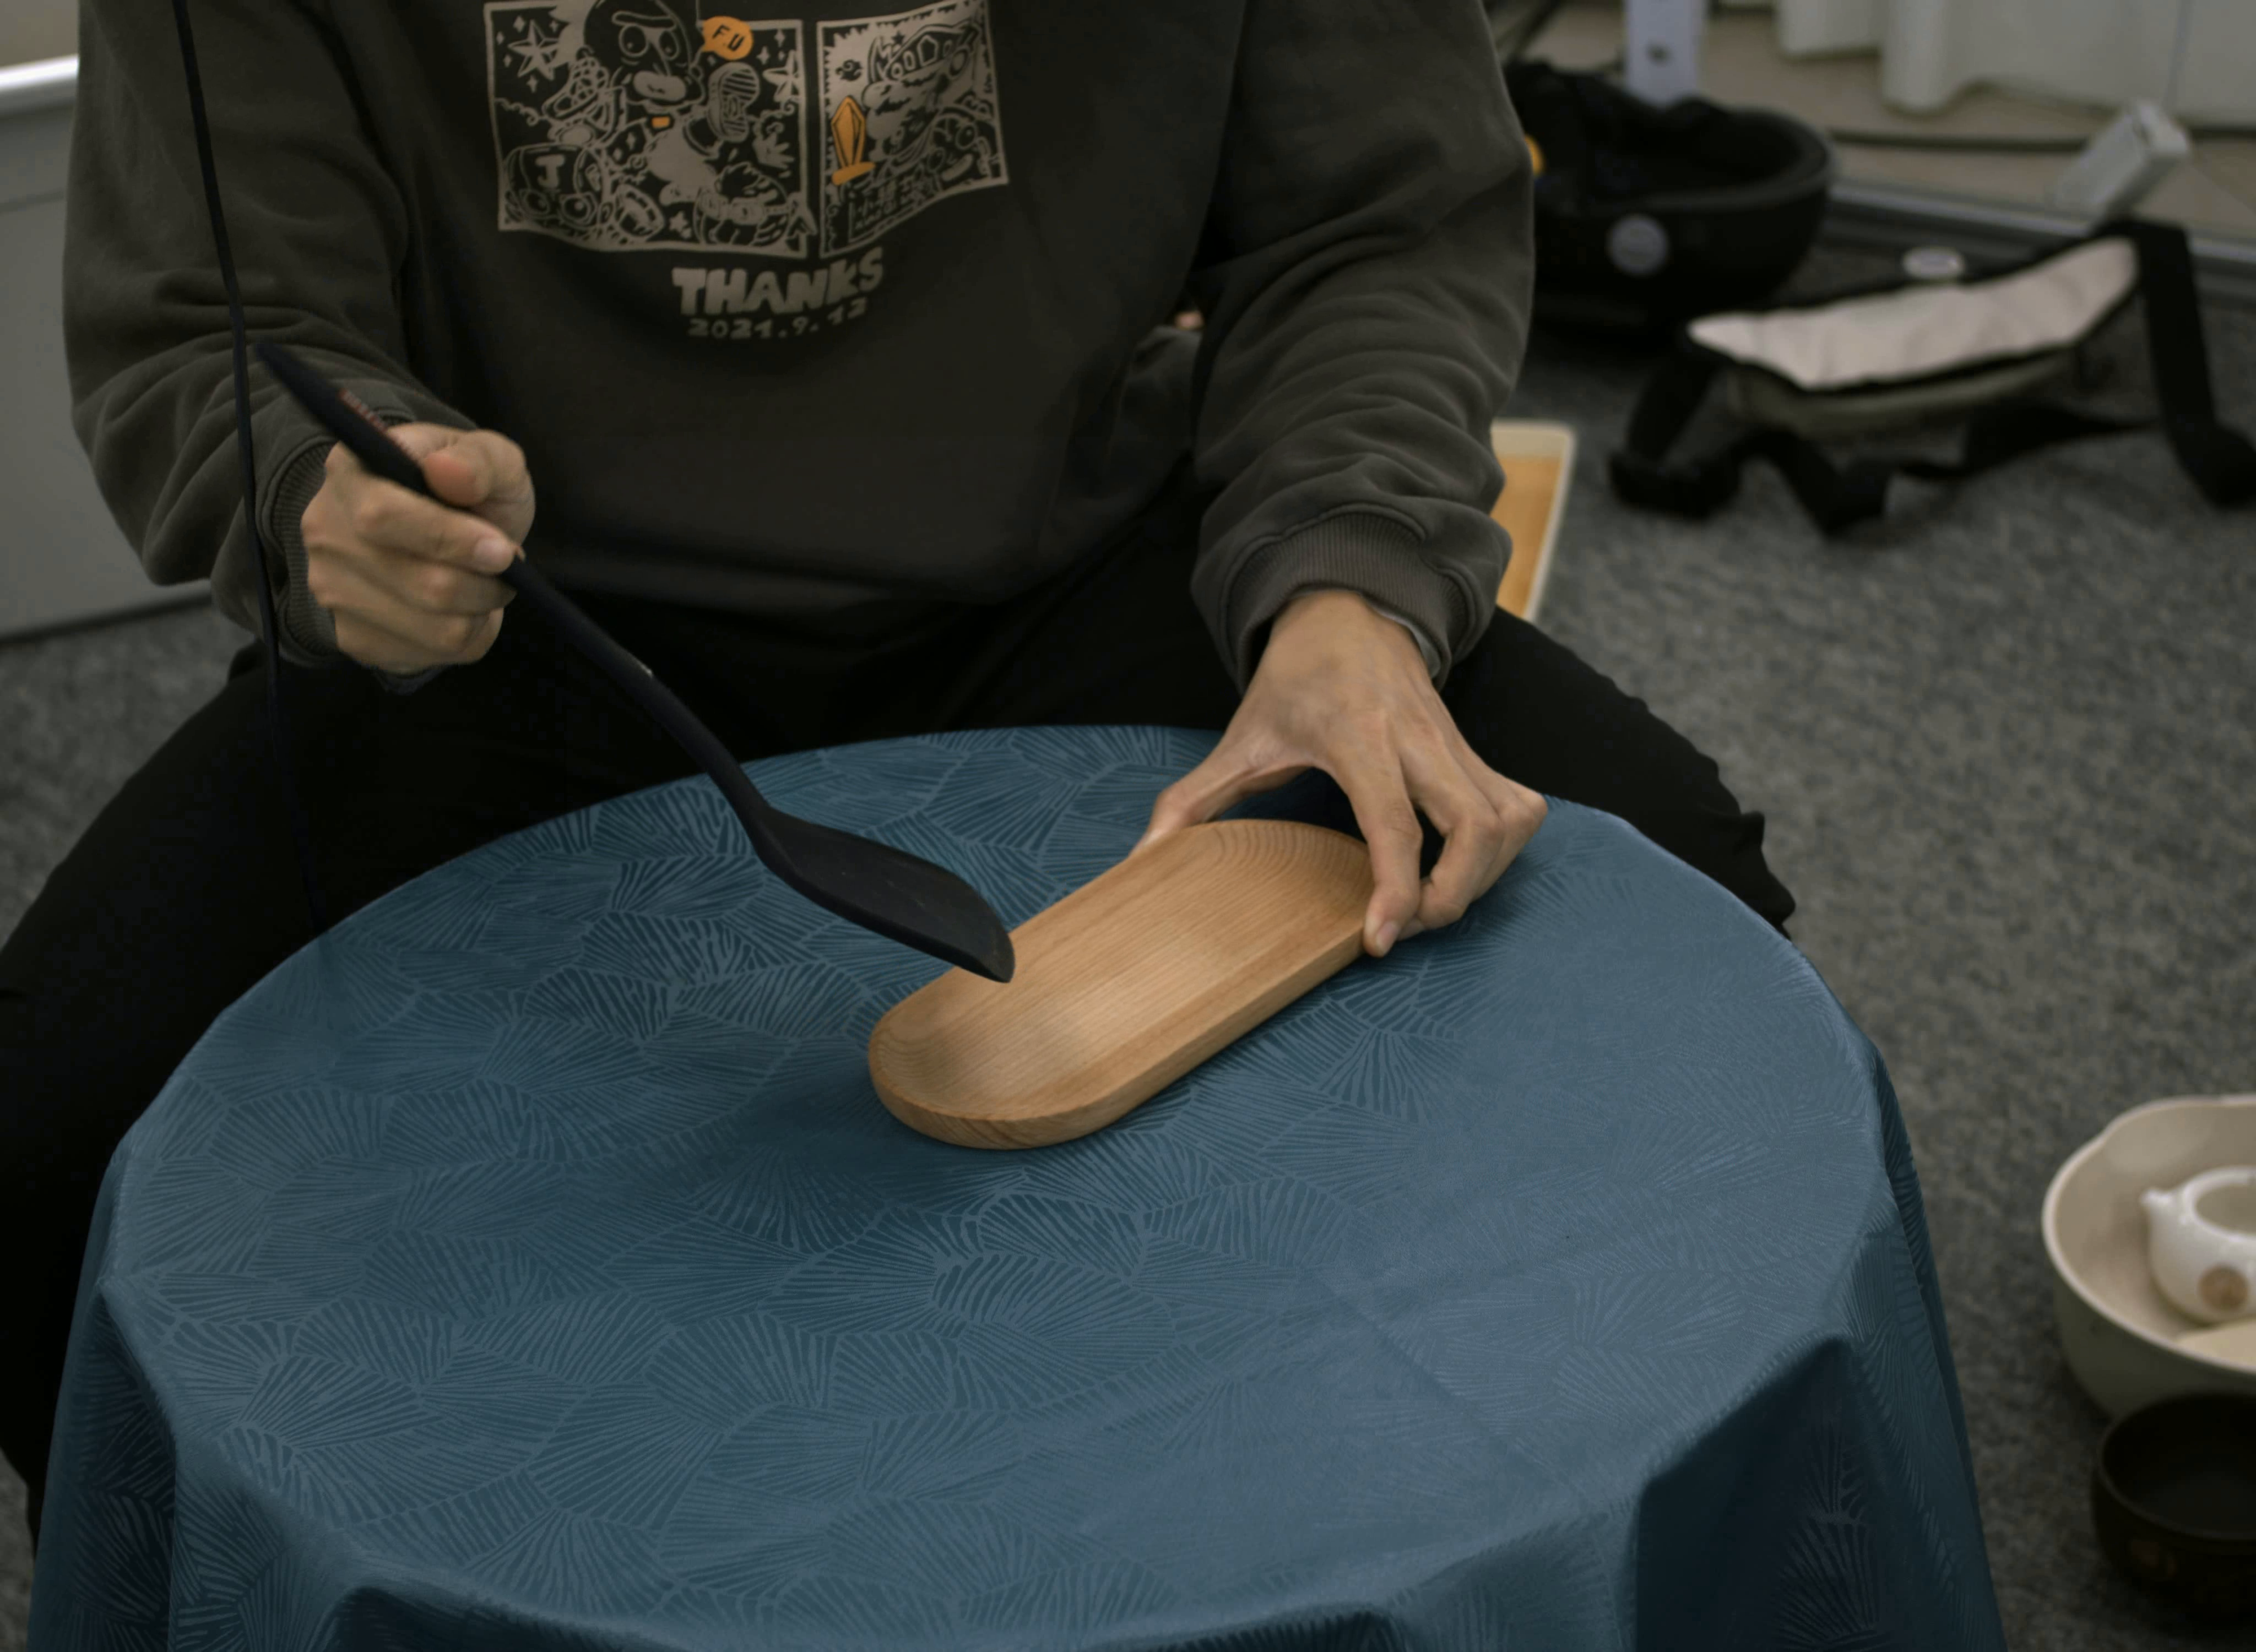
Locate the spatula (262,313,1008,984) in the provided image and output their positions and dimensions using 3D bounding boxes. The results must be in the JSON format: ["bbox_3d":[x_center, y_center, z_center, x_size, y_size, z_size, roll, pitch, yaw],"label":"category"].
[{"bbox_3d":[-0.162,-0.059,1.864,0.040,0.325,0.100,-42,16,5],"label":"spatula"}]

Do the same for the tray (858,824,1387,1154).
[{"bbox_3d":[0.000,0.055,1.968,0.101,0.020,0.234,19,36,36],"label":"tray"}]
